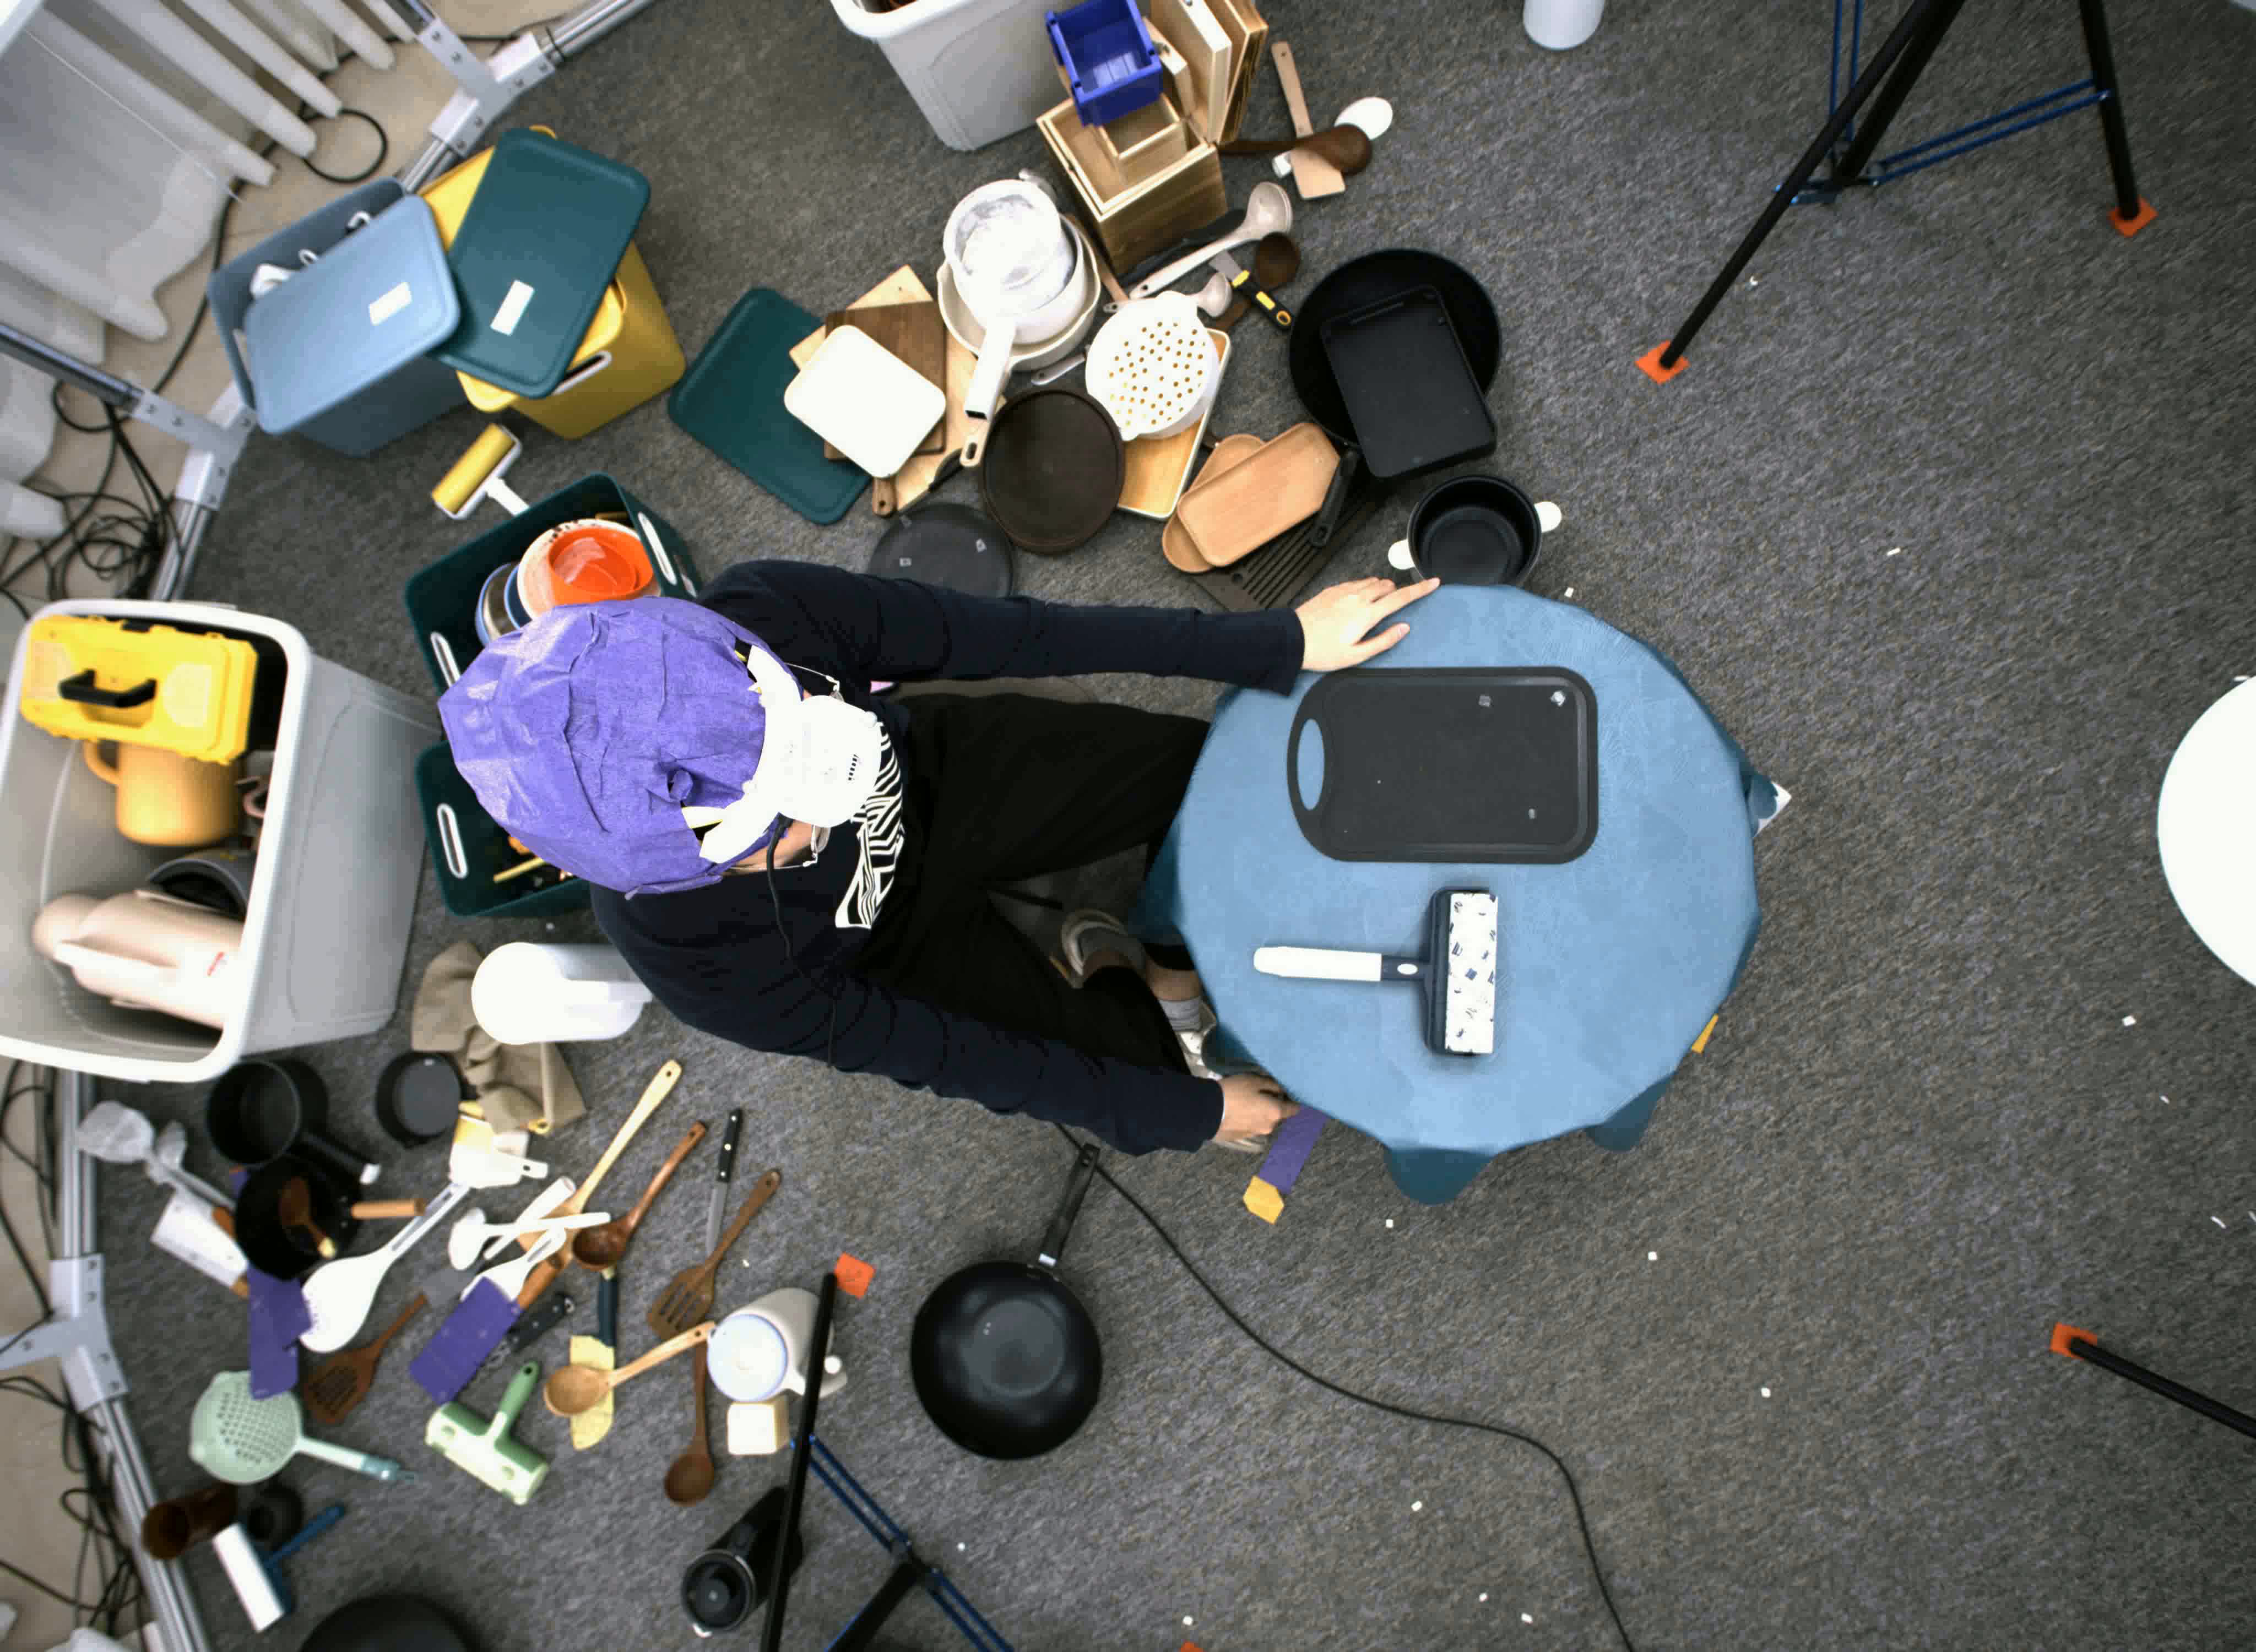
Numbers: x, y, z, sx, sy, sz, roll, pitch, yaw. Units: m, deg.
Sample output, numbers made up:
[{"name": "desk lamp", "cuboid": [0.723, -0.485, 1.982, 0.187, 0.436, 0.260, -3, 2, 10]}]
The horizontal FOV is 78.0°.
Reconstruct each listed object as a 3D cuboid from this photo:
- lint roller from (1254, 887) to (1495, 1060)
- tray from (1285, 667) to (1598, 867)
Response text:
[{"name": "lint roller", "cuboid": [0.253, 0.146, 1.438, 0.248, 0.050, 0.176, 2, 88, 13]}, {"name": "tray", "cuboid": [0.329, -0.067, 1.453, 0.326, 0.010, 0.210, 1, 87, 11]}]
